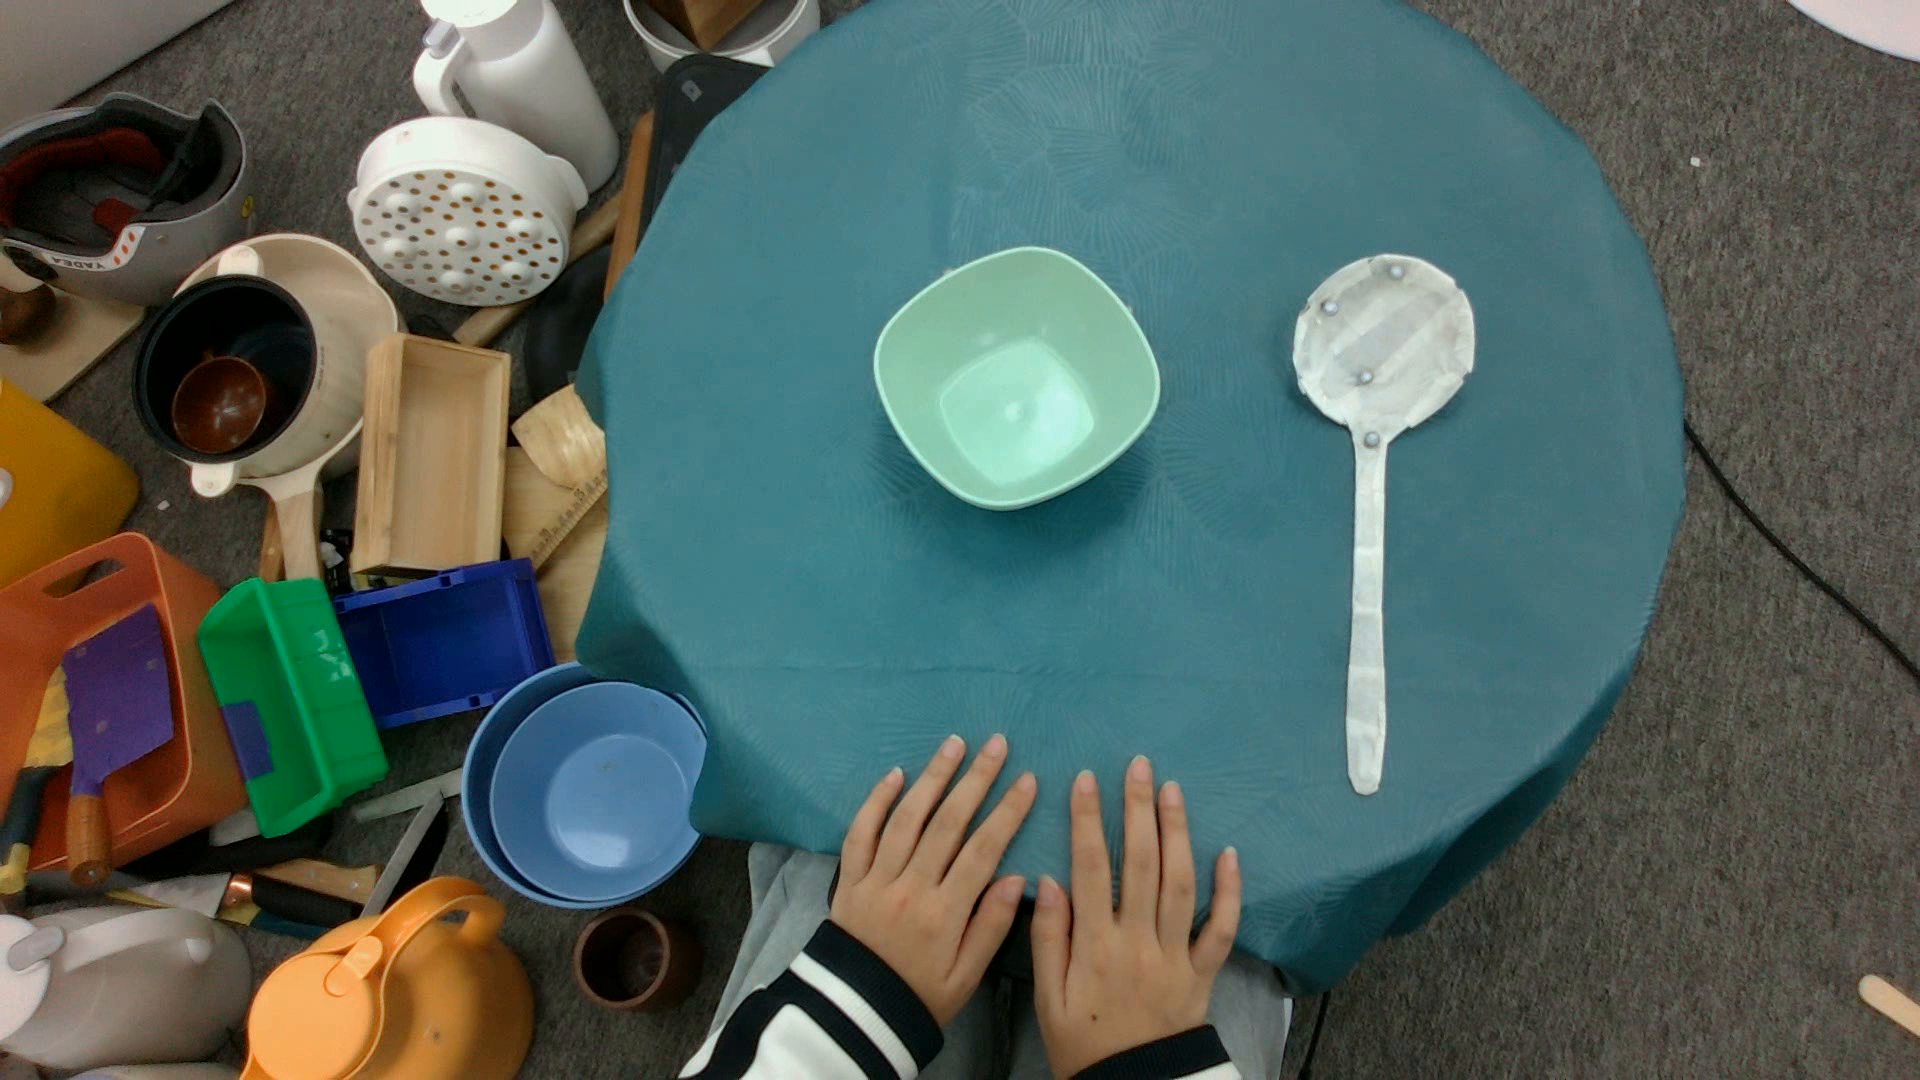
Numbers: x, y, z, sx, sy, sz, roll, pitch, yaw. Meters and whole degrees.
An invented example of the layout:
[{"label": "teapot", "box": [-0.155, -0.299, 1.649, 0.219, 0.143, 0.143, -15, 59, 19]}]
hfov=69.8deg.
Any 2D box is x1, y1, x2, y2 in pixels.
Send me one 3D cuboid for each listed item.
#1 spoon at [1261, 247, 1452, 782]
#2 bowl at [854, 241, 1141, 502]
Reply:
[{"label": "spoon", "box": [0.197, -0.017, 0.711, 0.100, 0.059, 0.278, 7, 70, 9]}, {"label": "bowl", "box": [0.020, -0.082, 0.742, 0.151, 0.058, 0.152, -1, 70, 2]}]
